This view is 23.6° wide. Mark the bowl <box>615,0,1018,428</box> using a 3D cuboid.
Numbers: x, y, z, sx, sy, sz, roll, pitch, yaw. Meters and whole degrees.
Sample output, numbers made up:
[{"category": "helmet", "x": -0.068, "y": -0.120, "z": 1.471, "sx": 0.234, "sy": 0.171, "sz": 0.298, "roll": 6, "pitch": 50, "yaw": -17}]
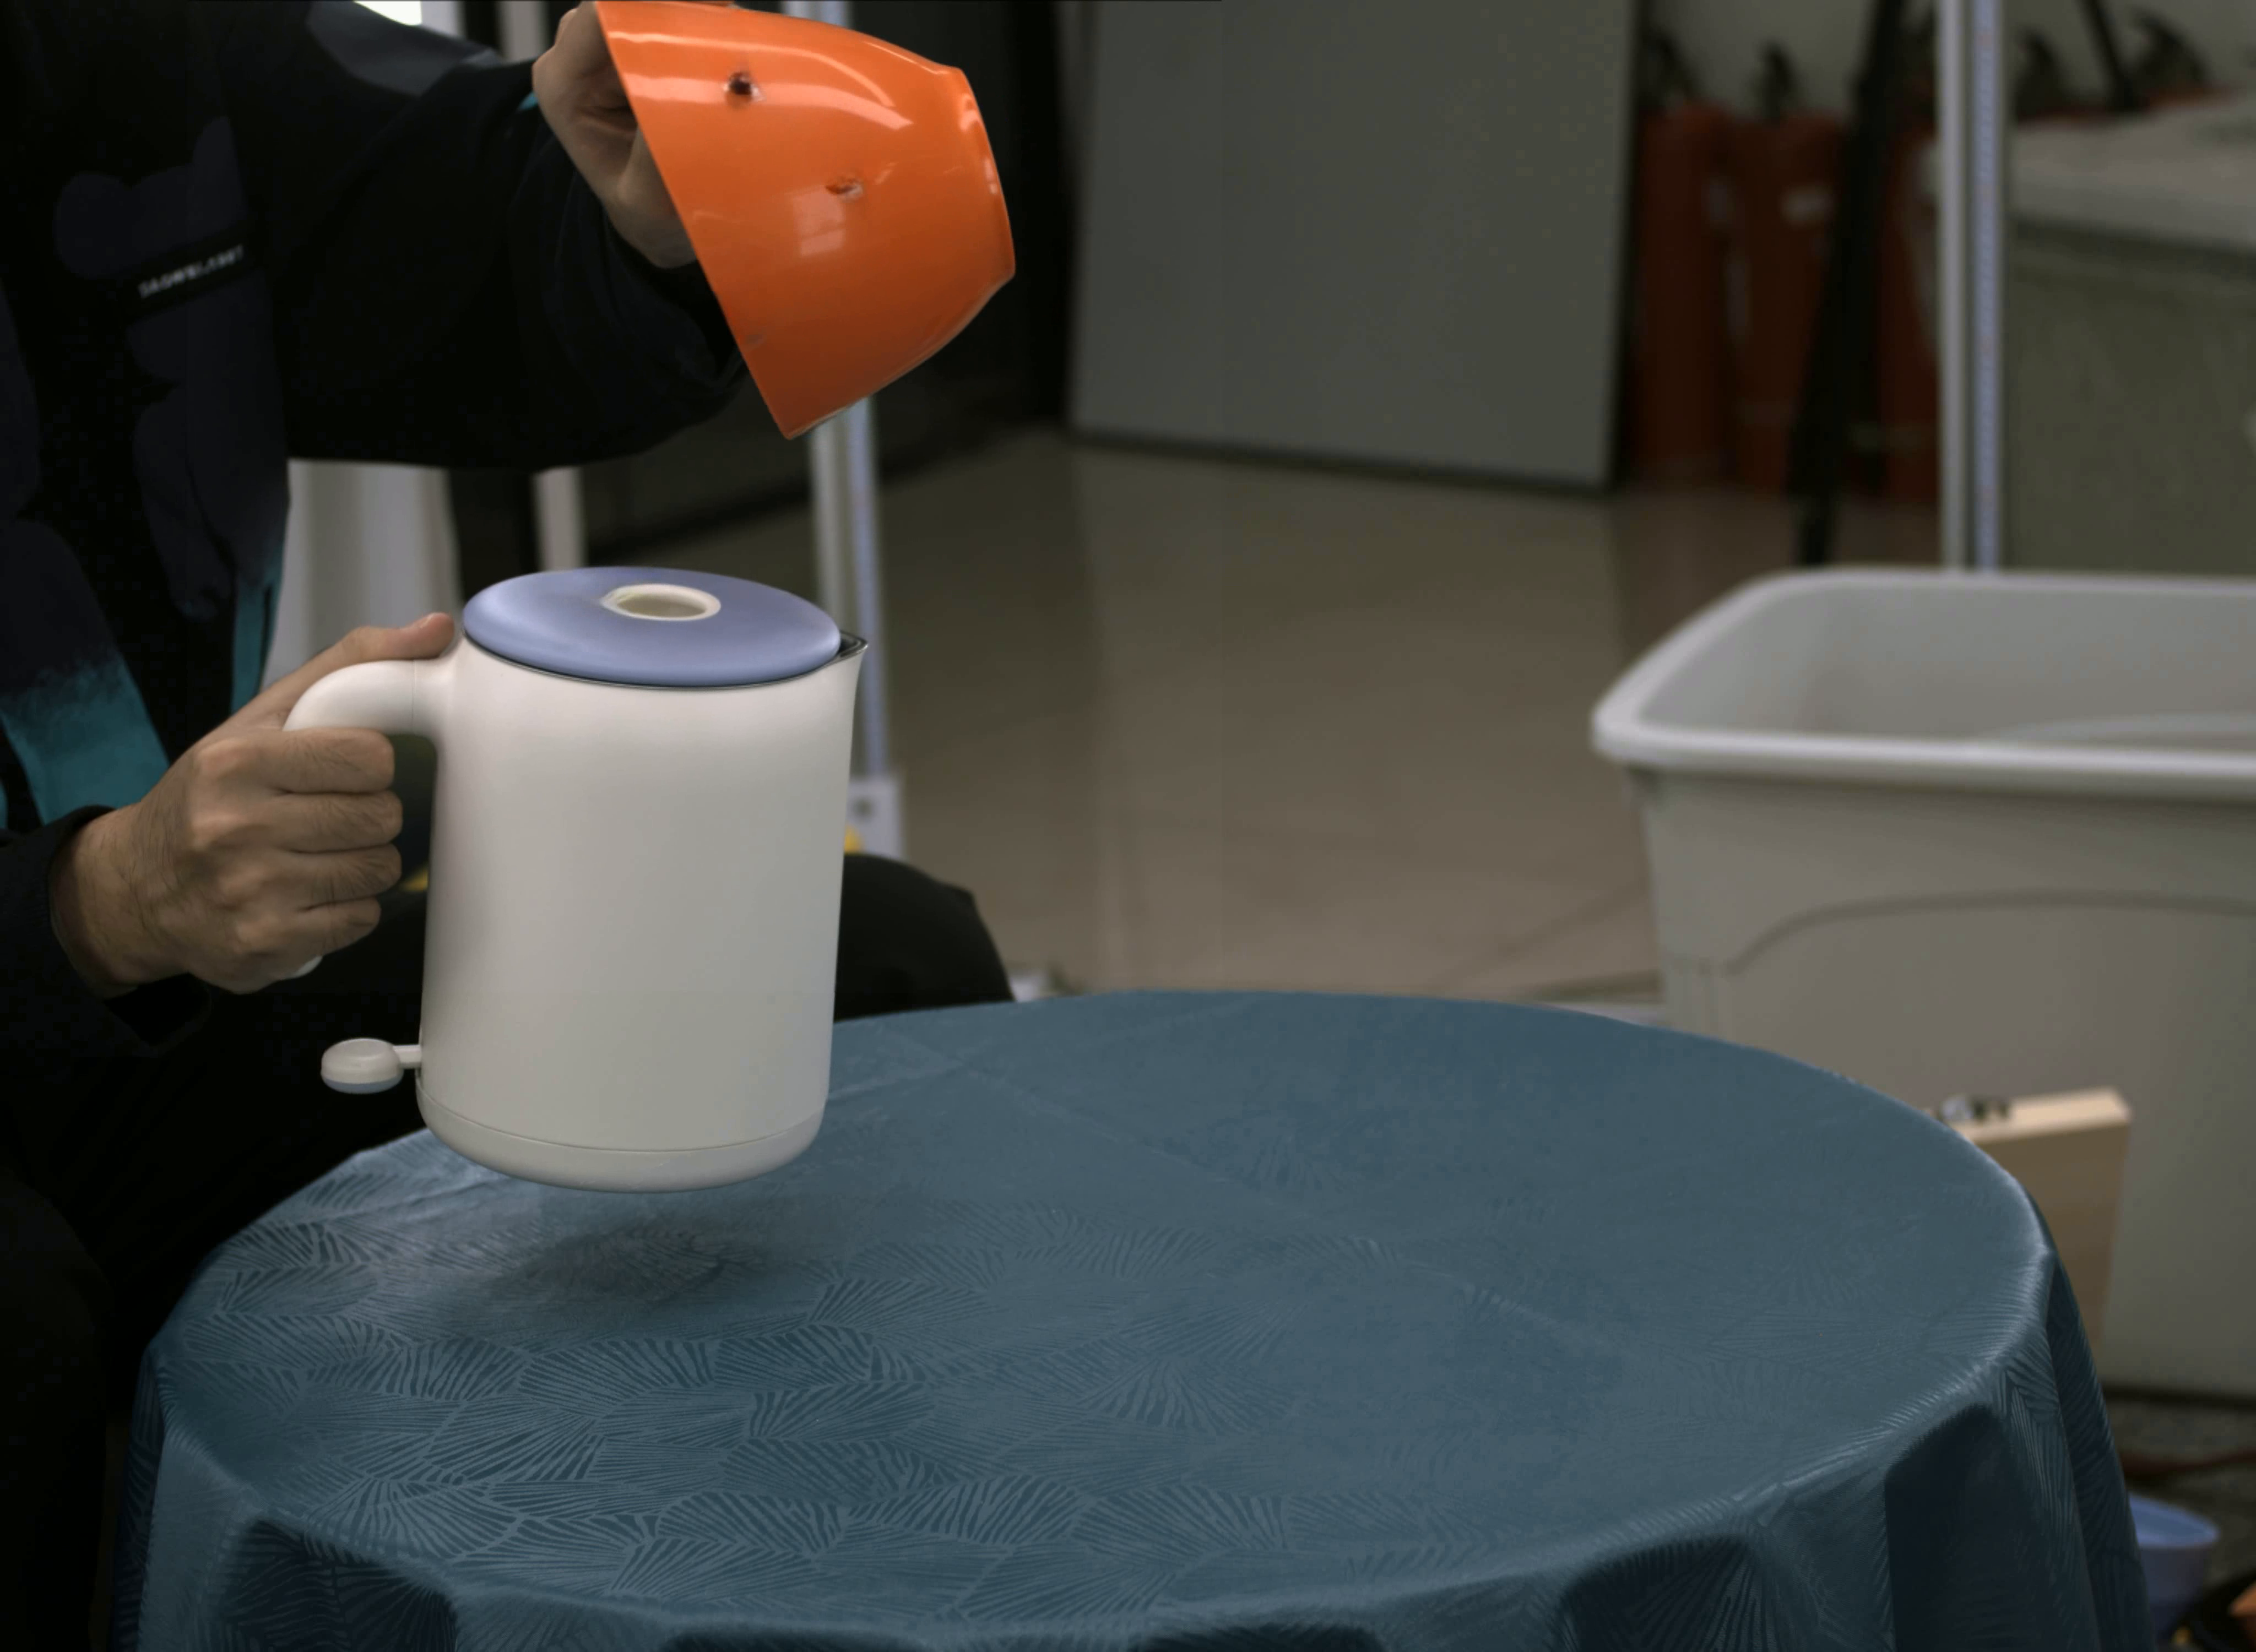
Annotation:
[{"category": "bowl", "x": -0.092, "y": -0.201, "z": 1.652, "sx": 0.103, "sy": 0.149, "sz": 0.149, "roll": -15, "pitch": 14, "yaw": -5}]

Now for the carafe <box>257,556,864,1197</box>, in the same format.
[{"category": "carafe", "x": -0.176, "y": 0.015, "z": 1.689, "sx": 0.187, "sy": 0.184, "sz": 0.133, "roll": -2, "pitch": 15, "yaw": -11}]
